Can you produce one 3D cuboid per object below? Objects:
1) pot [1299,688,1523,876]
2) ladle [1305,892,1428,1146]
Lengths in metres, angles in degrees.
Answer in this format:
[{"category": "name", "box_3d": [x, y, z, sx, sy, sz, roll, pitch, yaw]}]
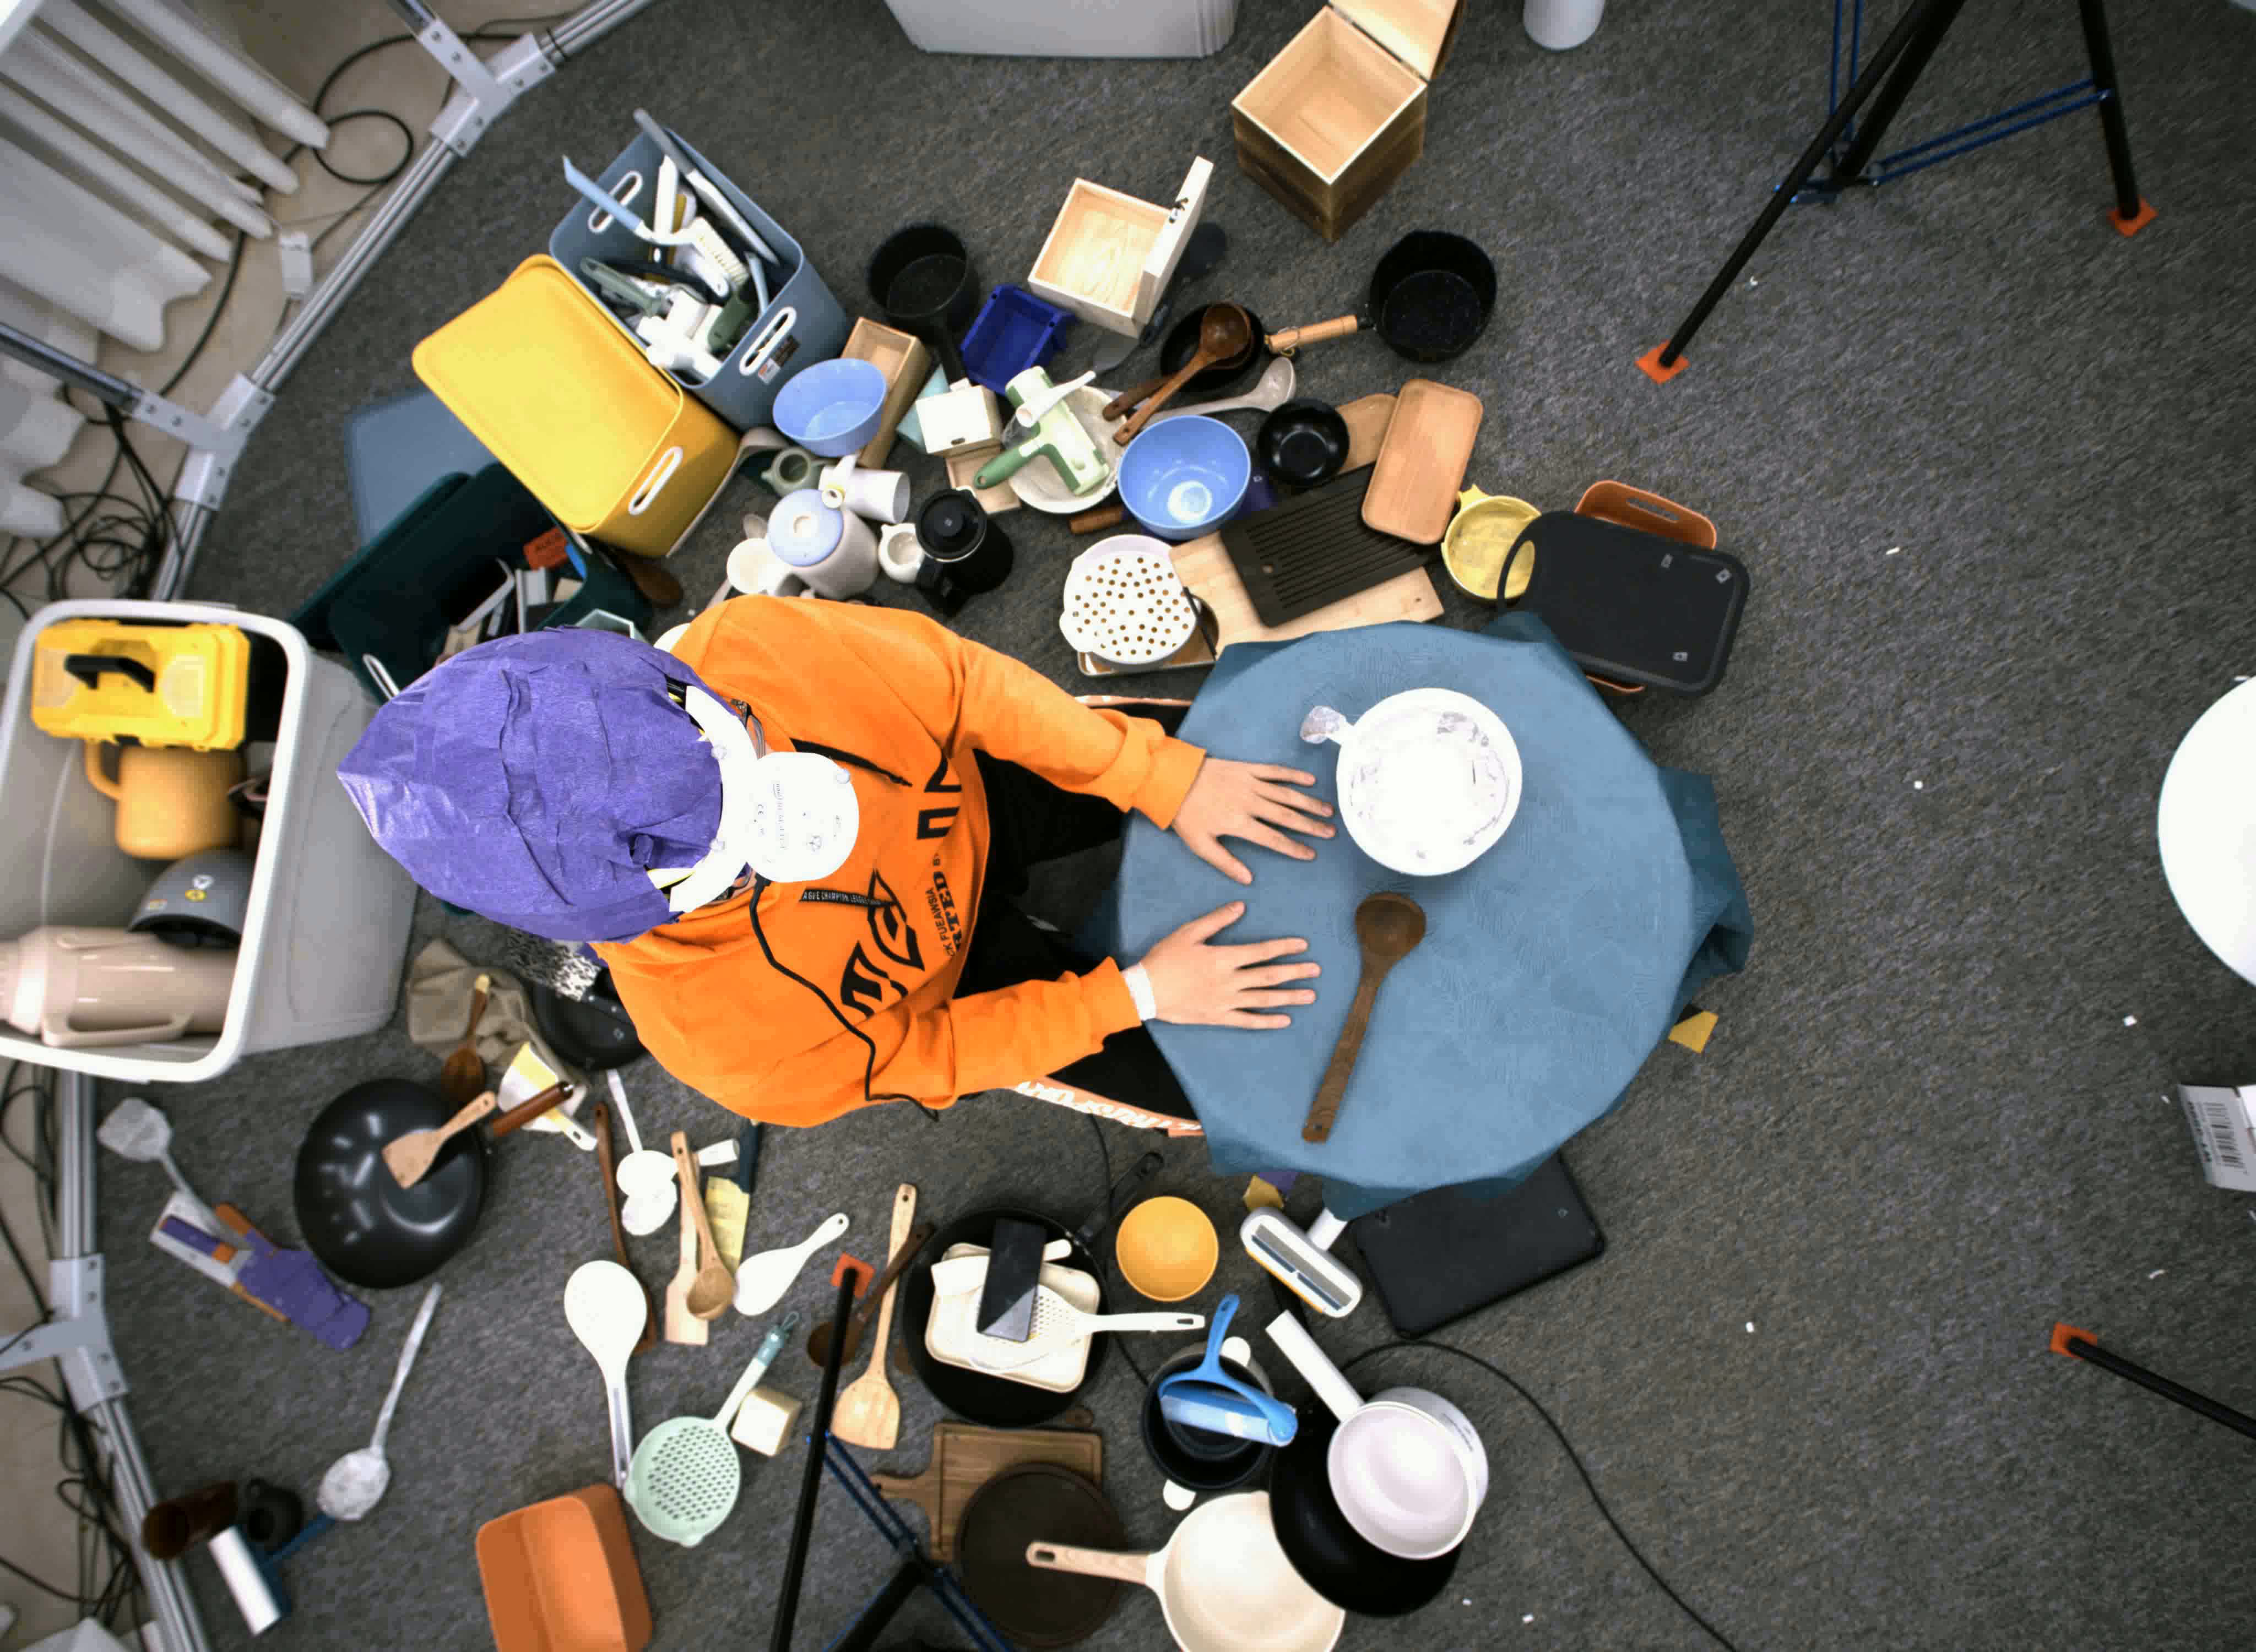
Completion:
[{"category": "pot", "box_3d": [0.277, -0.055, 1.396, 0.233, 0.137, 0.179, 31, 91, 11]}, {"category": "ladle", "box_3d": [0.236, 0.199, 1.424, 0.076, 0.071, 0.274, 20, 90, 14]}]
